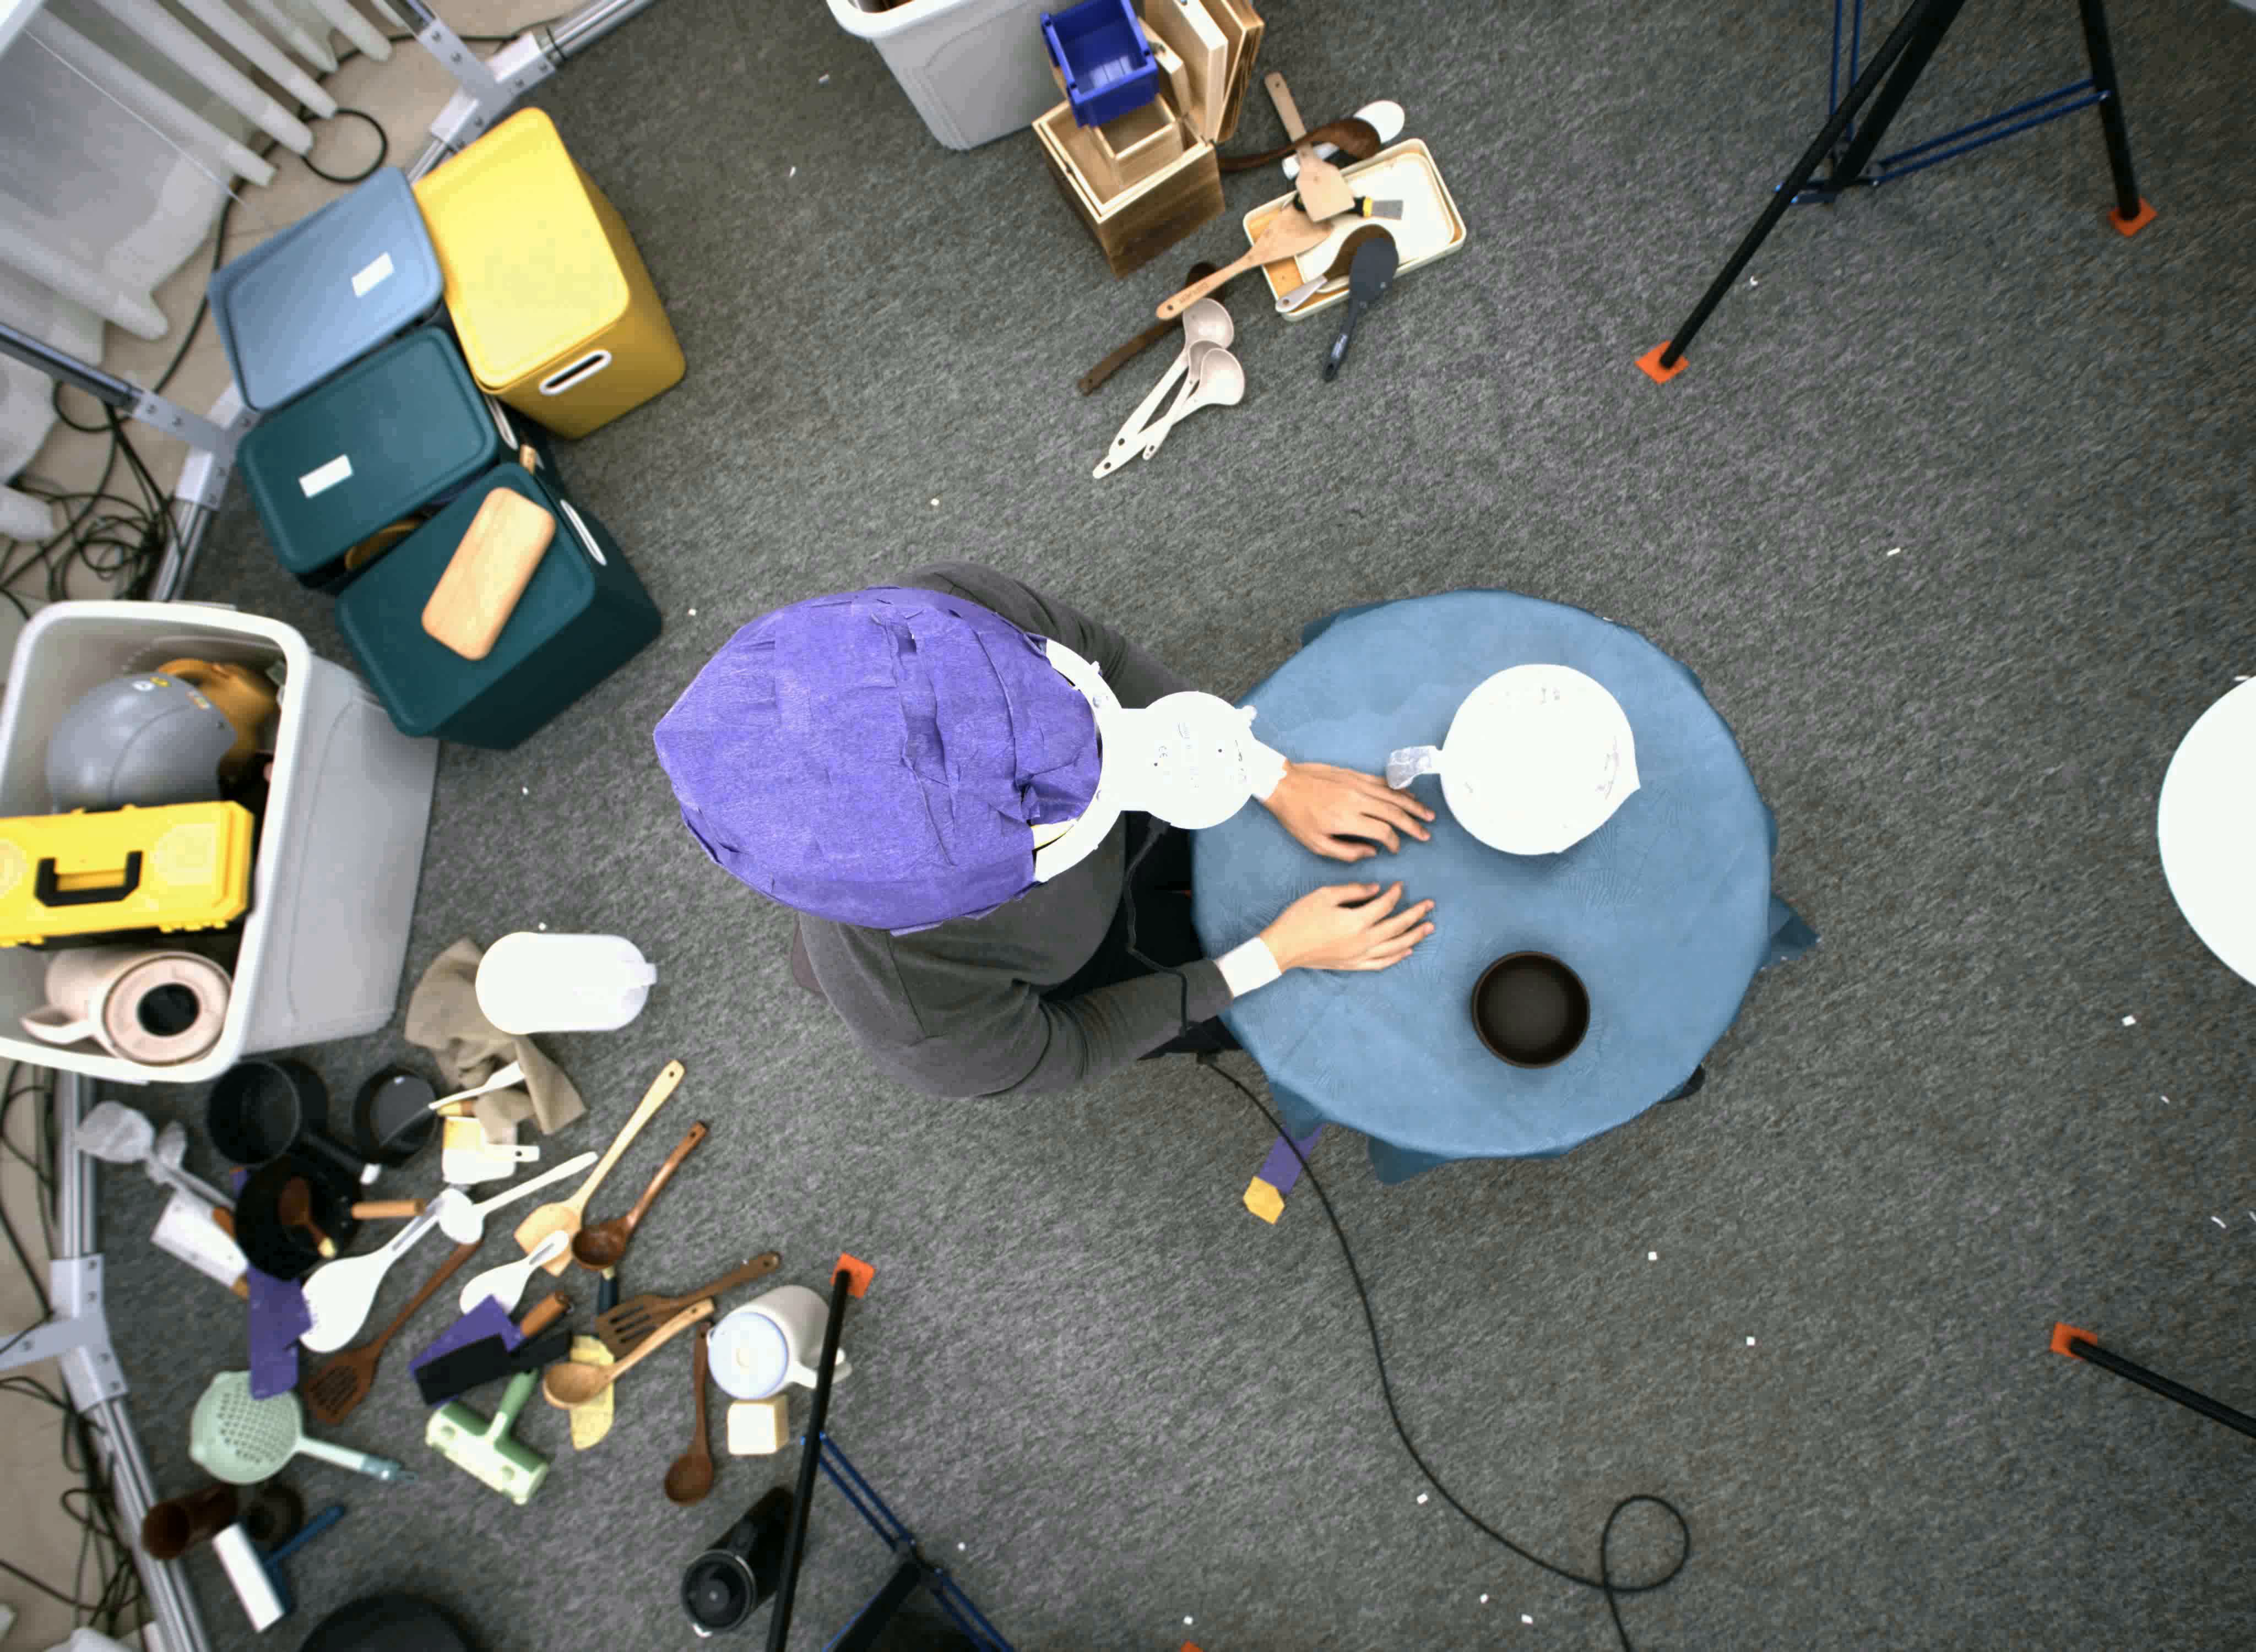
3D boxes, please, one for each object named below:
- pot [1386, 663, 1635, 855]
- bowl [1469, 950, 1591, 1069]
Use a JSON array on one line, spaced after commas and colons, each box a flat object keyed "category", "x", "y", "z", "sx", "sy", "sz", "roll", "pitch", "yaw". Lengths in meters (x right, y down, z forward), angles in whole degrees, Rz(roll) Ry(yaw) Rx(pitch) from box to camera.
[{"category": "pot", "x": 0.378, "y": -0.064, "z": 1.378, "sx": 0.235, "sy": 0.137, "sz": 0.178, "roll": -2, "pitch": 85, "yaw": 11}, {"category": "bowl", "x": 0.404, "y": 0.182, "z": 1.392, "sx": 0.118, "sy": 0.070, "sz": 0.117, "roll": -1, "pitch": 86, "yaw": 13}]
